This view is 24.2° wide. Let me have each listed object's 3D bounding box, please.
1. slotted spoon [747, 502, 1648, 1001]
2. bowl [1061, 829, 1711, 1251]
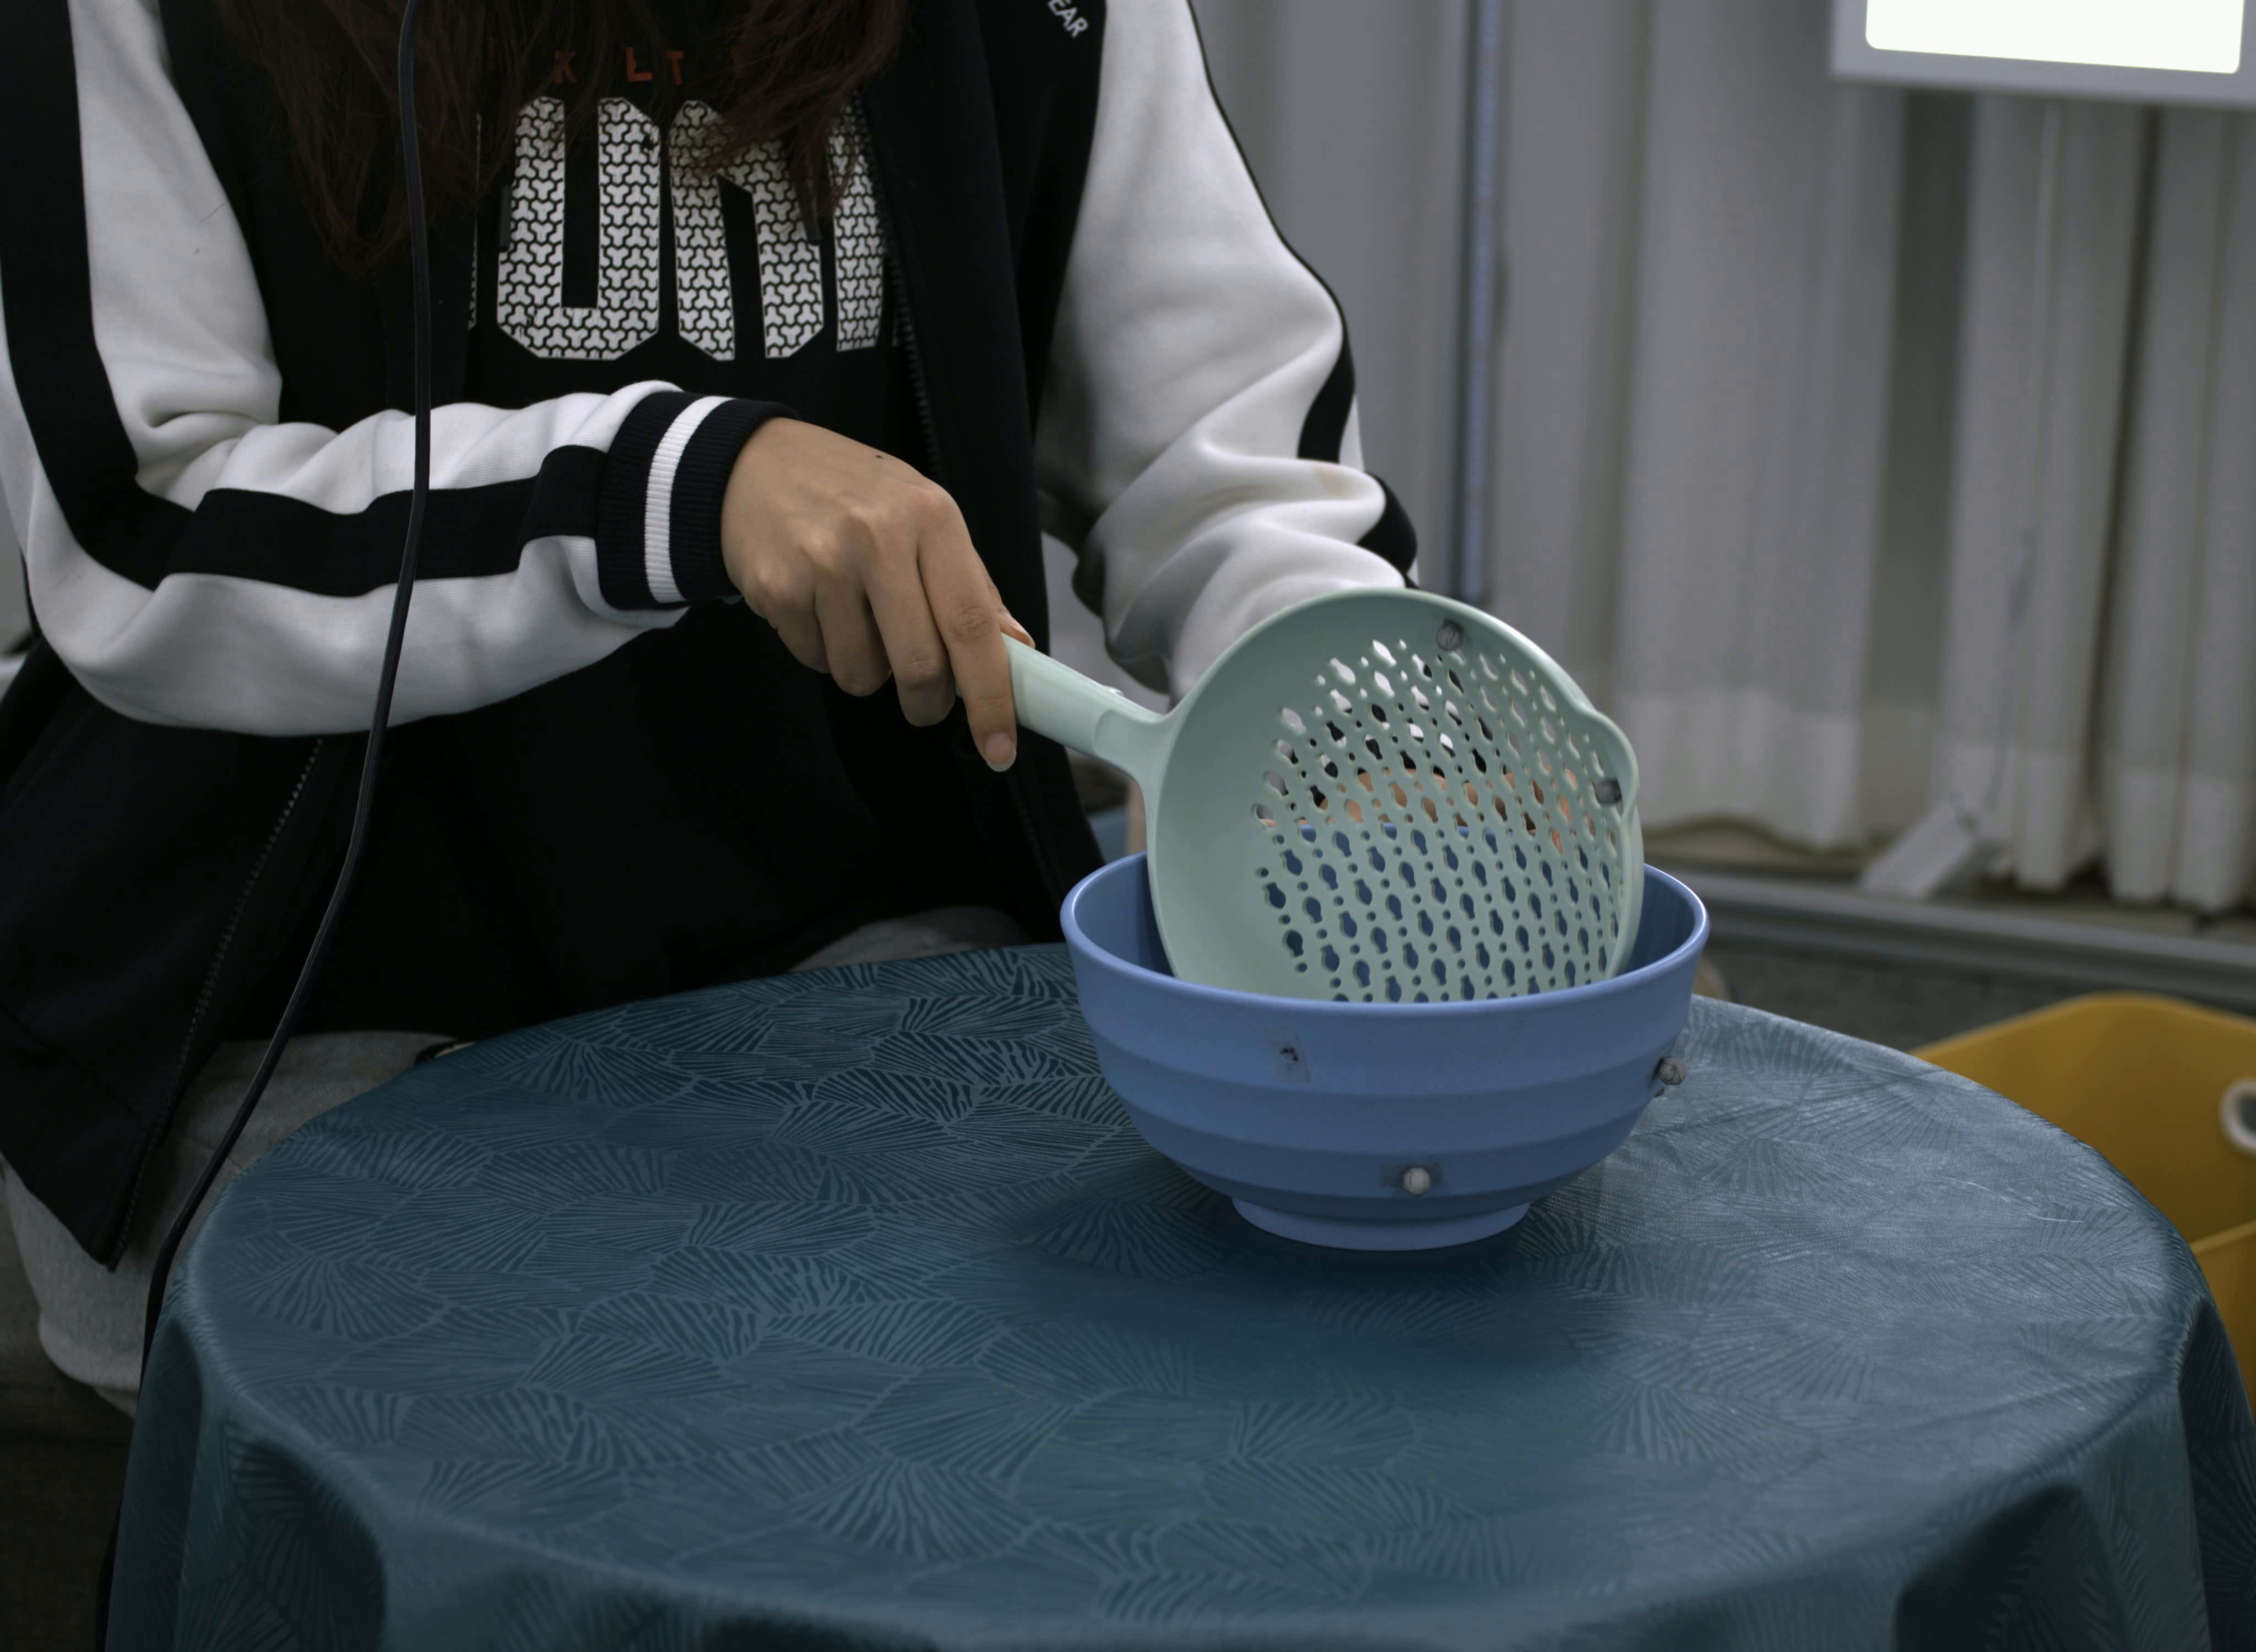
[{"bbox_3d":[0.010,-0.029,1.649,0.355,0.170,0.075,24,17,21],"label":"slotted spoon"},{"bbox_3d":[0.077,0.069,1.600,0.196,0.096,0.195,0,16,0],"label":"bowl"}]
